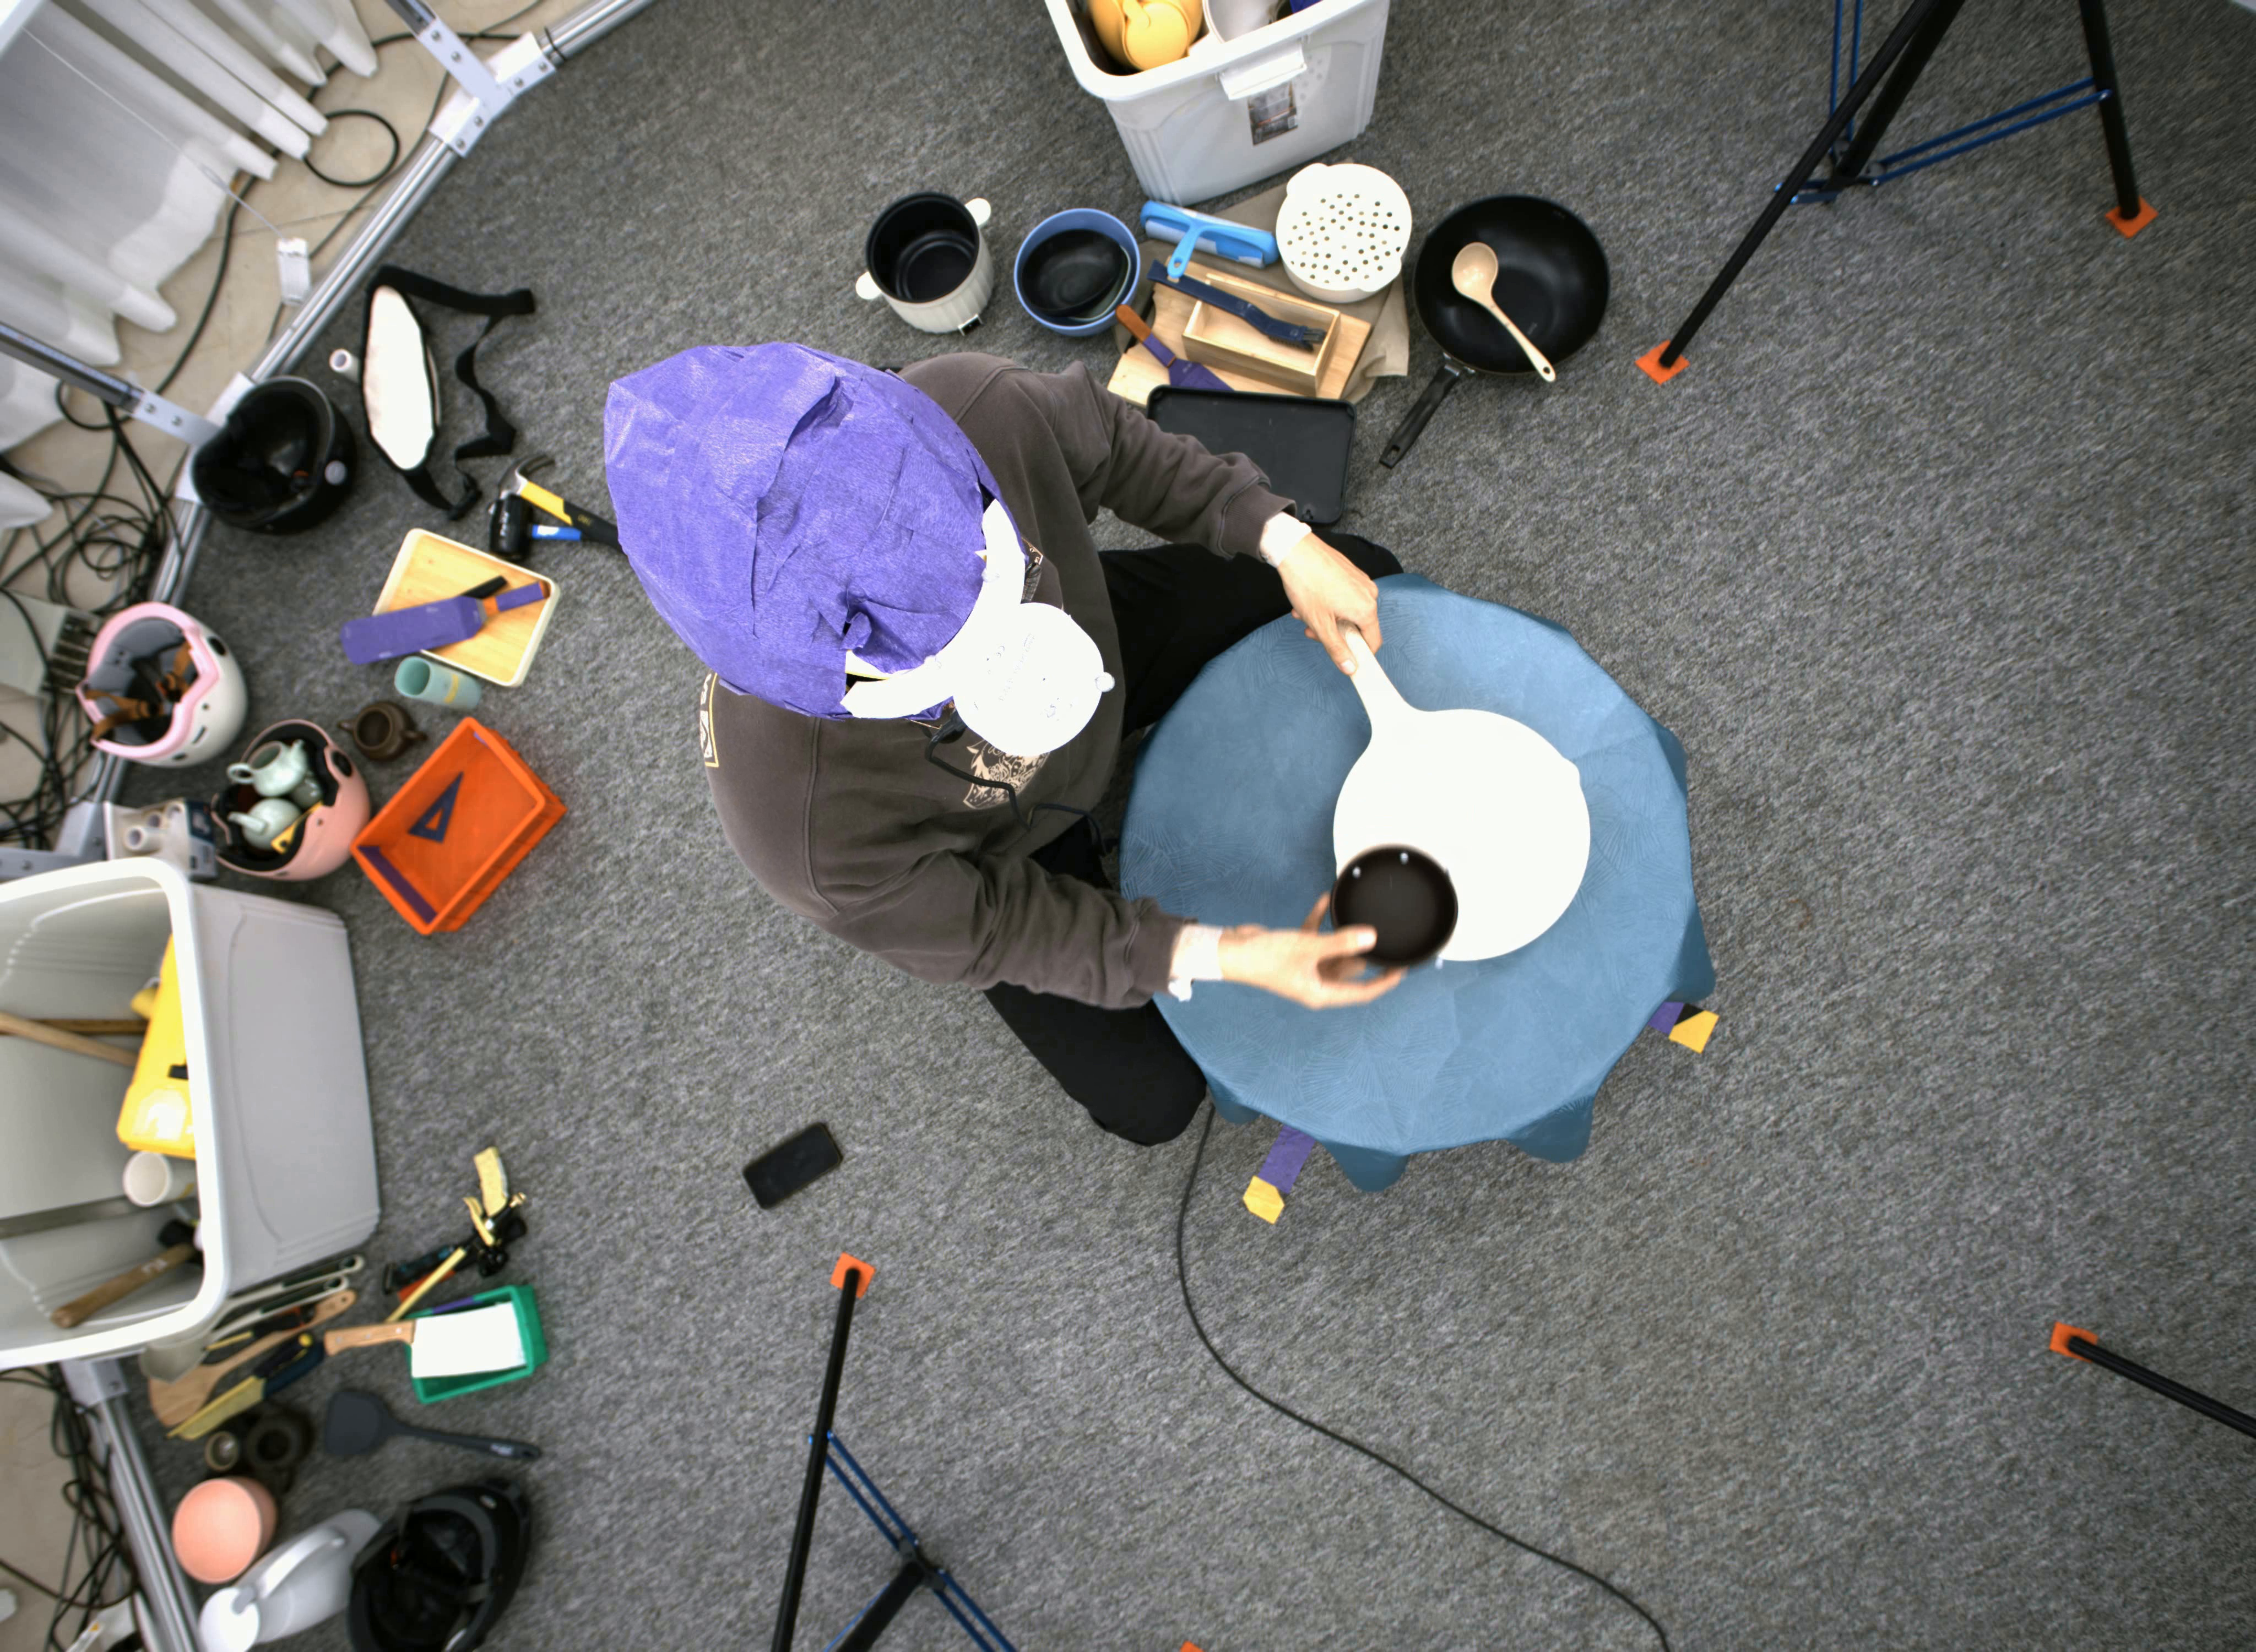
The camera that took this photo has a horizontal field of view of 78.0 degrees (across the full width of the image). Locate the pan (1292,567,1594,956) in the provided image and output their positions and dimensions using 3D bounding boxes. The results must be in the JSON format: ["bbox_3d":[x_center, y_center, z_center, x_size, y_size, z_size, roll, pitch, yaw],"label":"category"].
[{"bbox_3d":[0.294,-0.074,1.410,0.265,0.102,0.432,-31,82,9],"label":"pan"}]

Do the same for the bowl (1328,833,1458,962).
[{"bbox_3d":[0.245,0.066,1.279,0.118,0.070,0.117,-1,86,11],"label":"bowl"}]
